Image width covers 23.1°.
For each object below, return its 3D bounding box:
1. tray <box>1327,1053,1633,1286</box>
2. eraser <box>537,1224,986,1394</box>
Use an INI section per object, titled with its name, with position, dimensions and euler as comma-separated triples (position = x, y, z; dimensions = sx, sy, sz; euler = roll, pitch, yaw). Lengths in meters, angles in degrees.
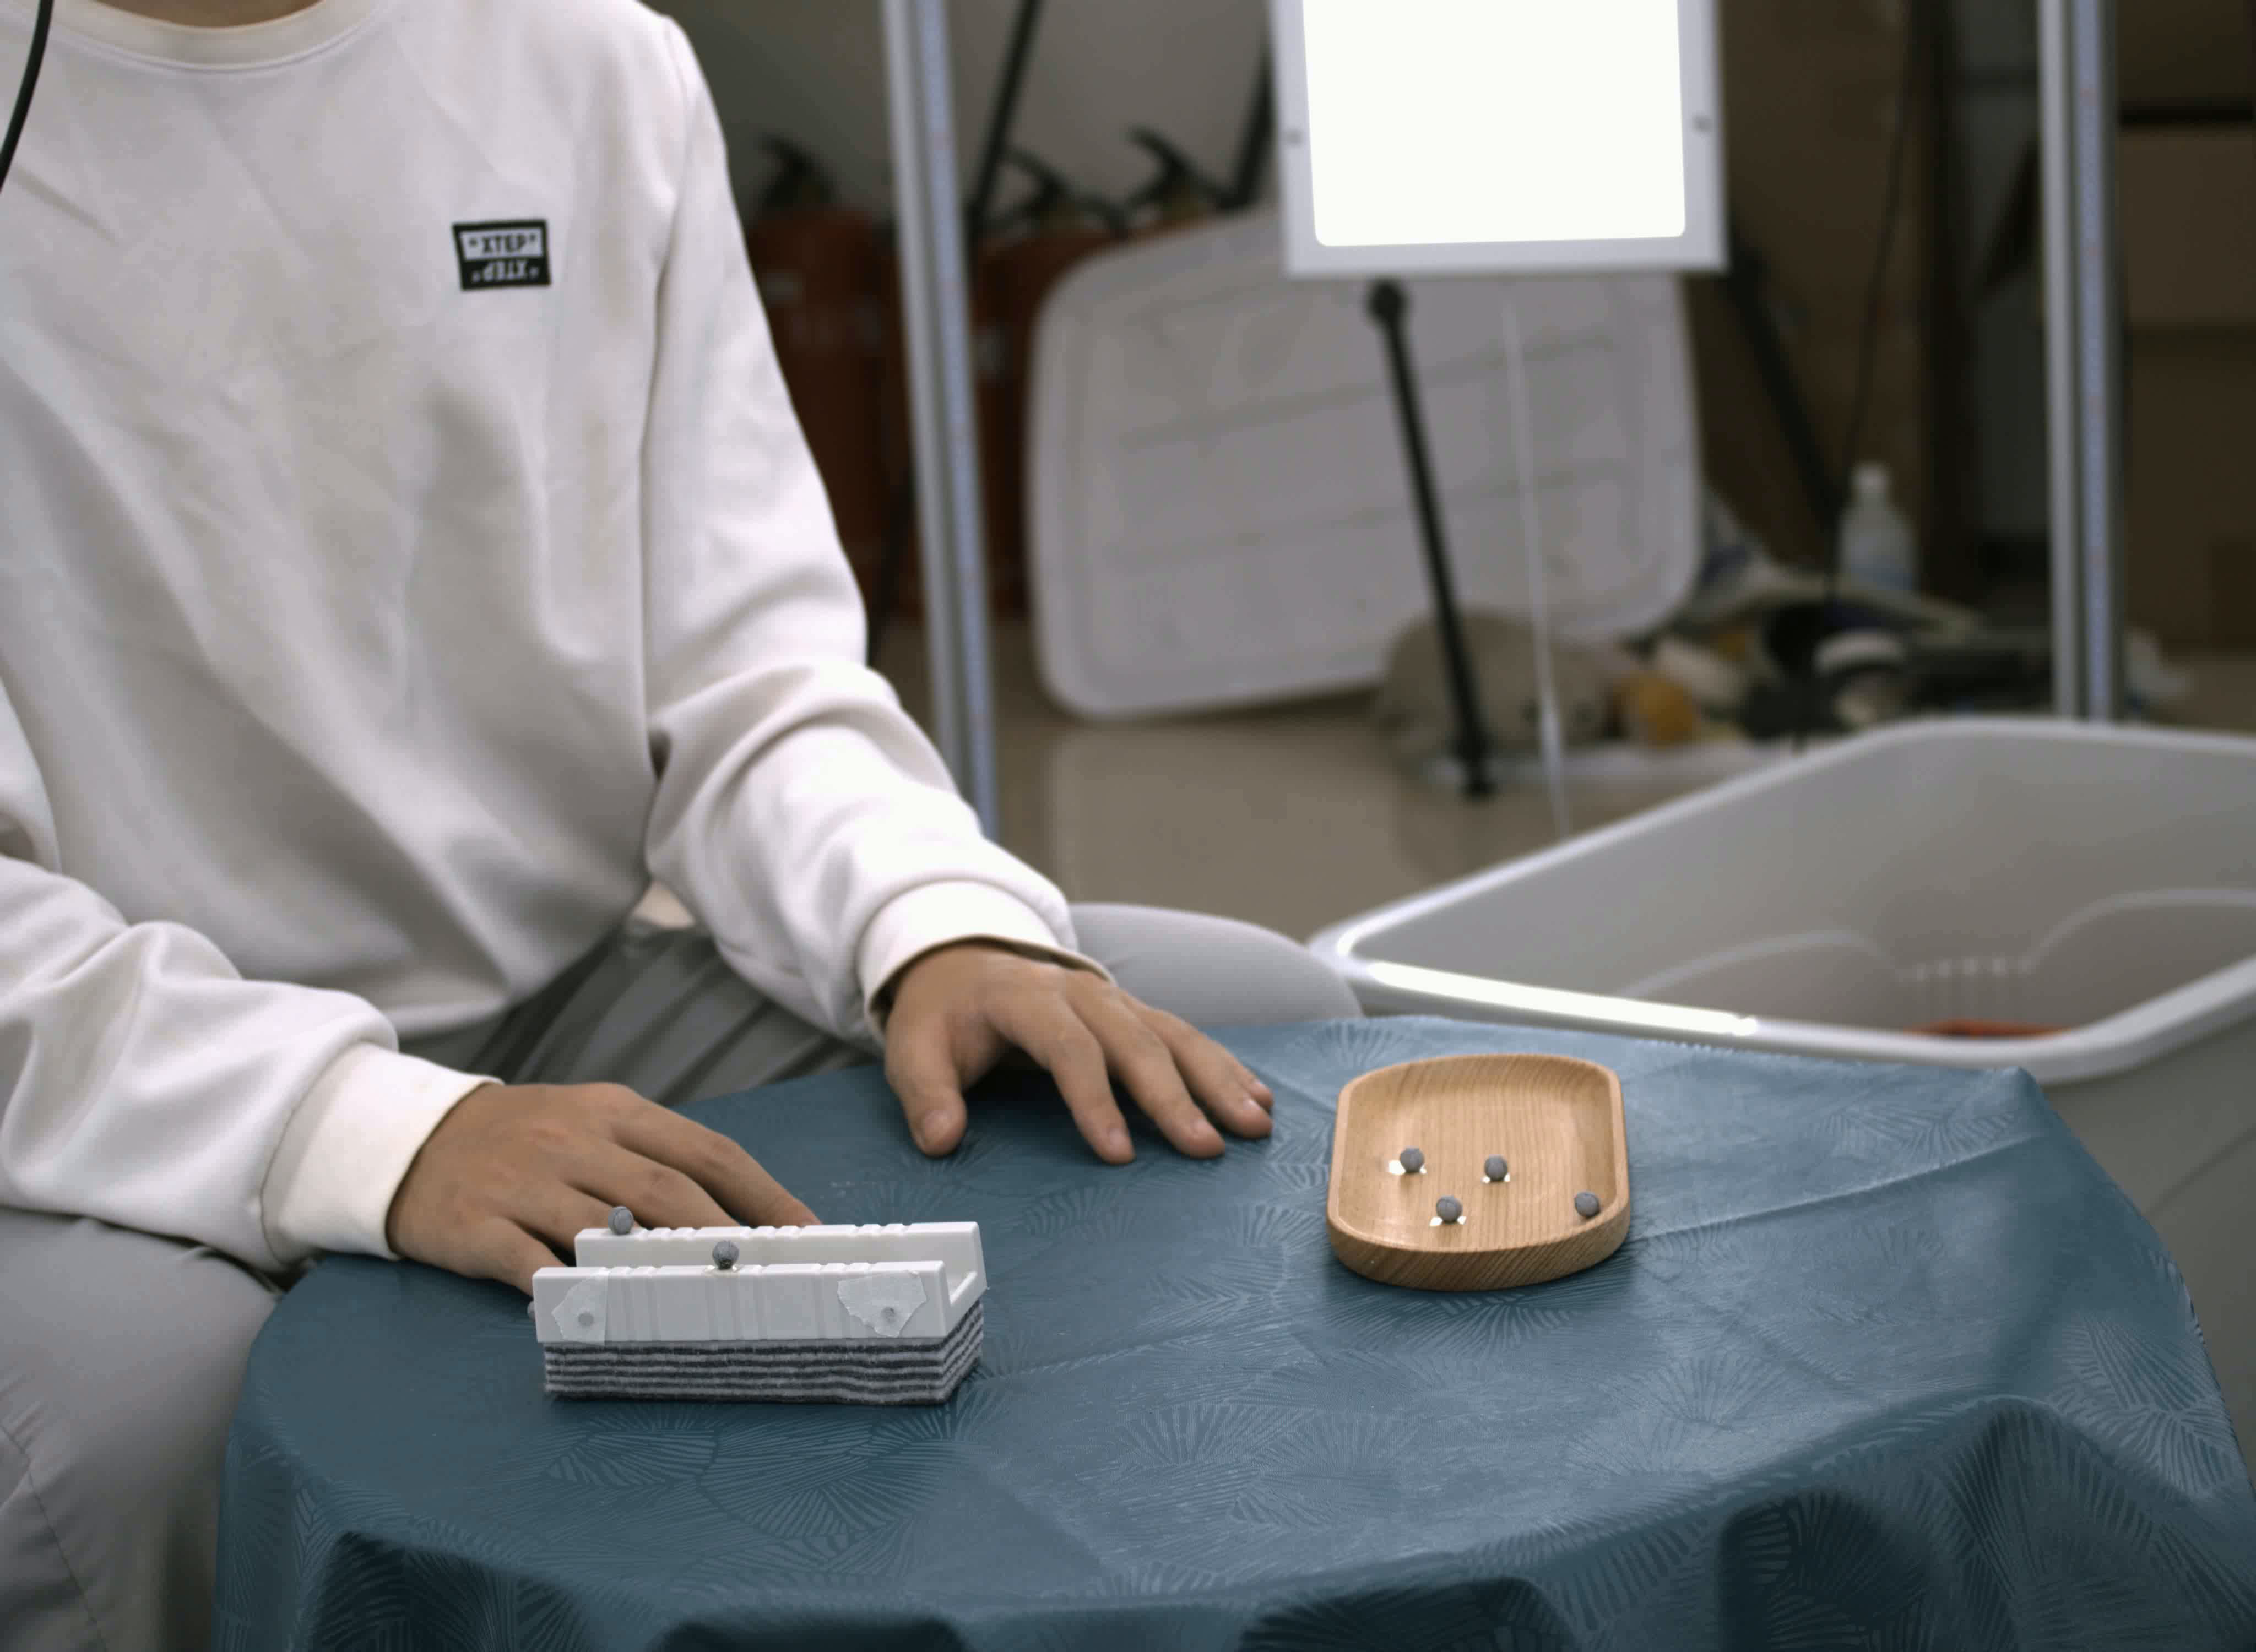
[tray]
position = 0.120, 0.115, 1.870
dimensions = 0.102, 0.020, 0.230
euler = -3, 12, 4
[eraser]
position = -0.114, 0.151, 1.735
dimensions = 0.135, 0.047, 0.049
euler = -2, 8, 13
